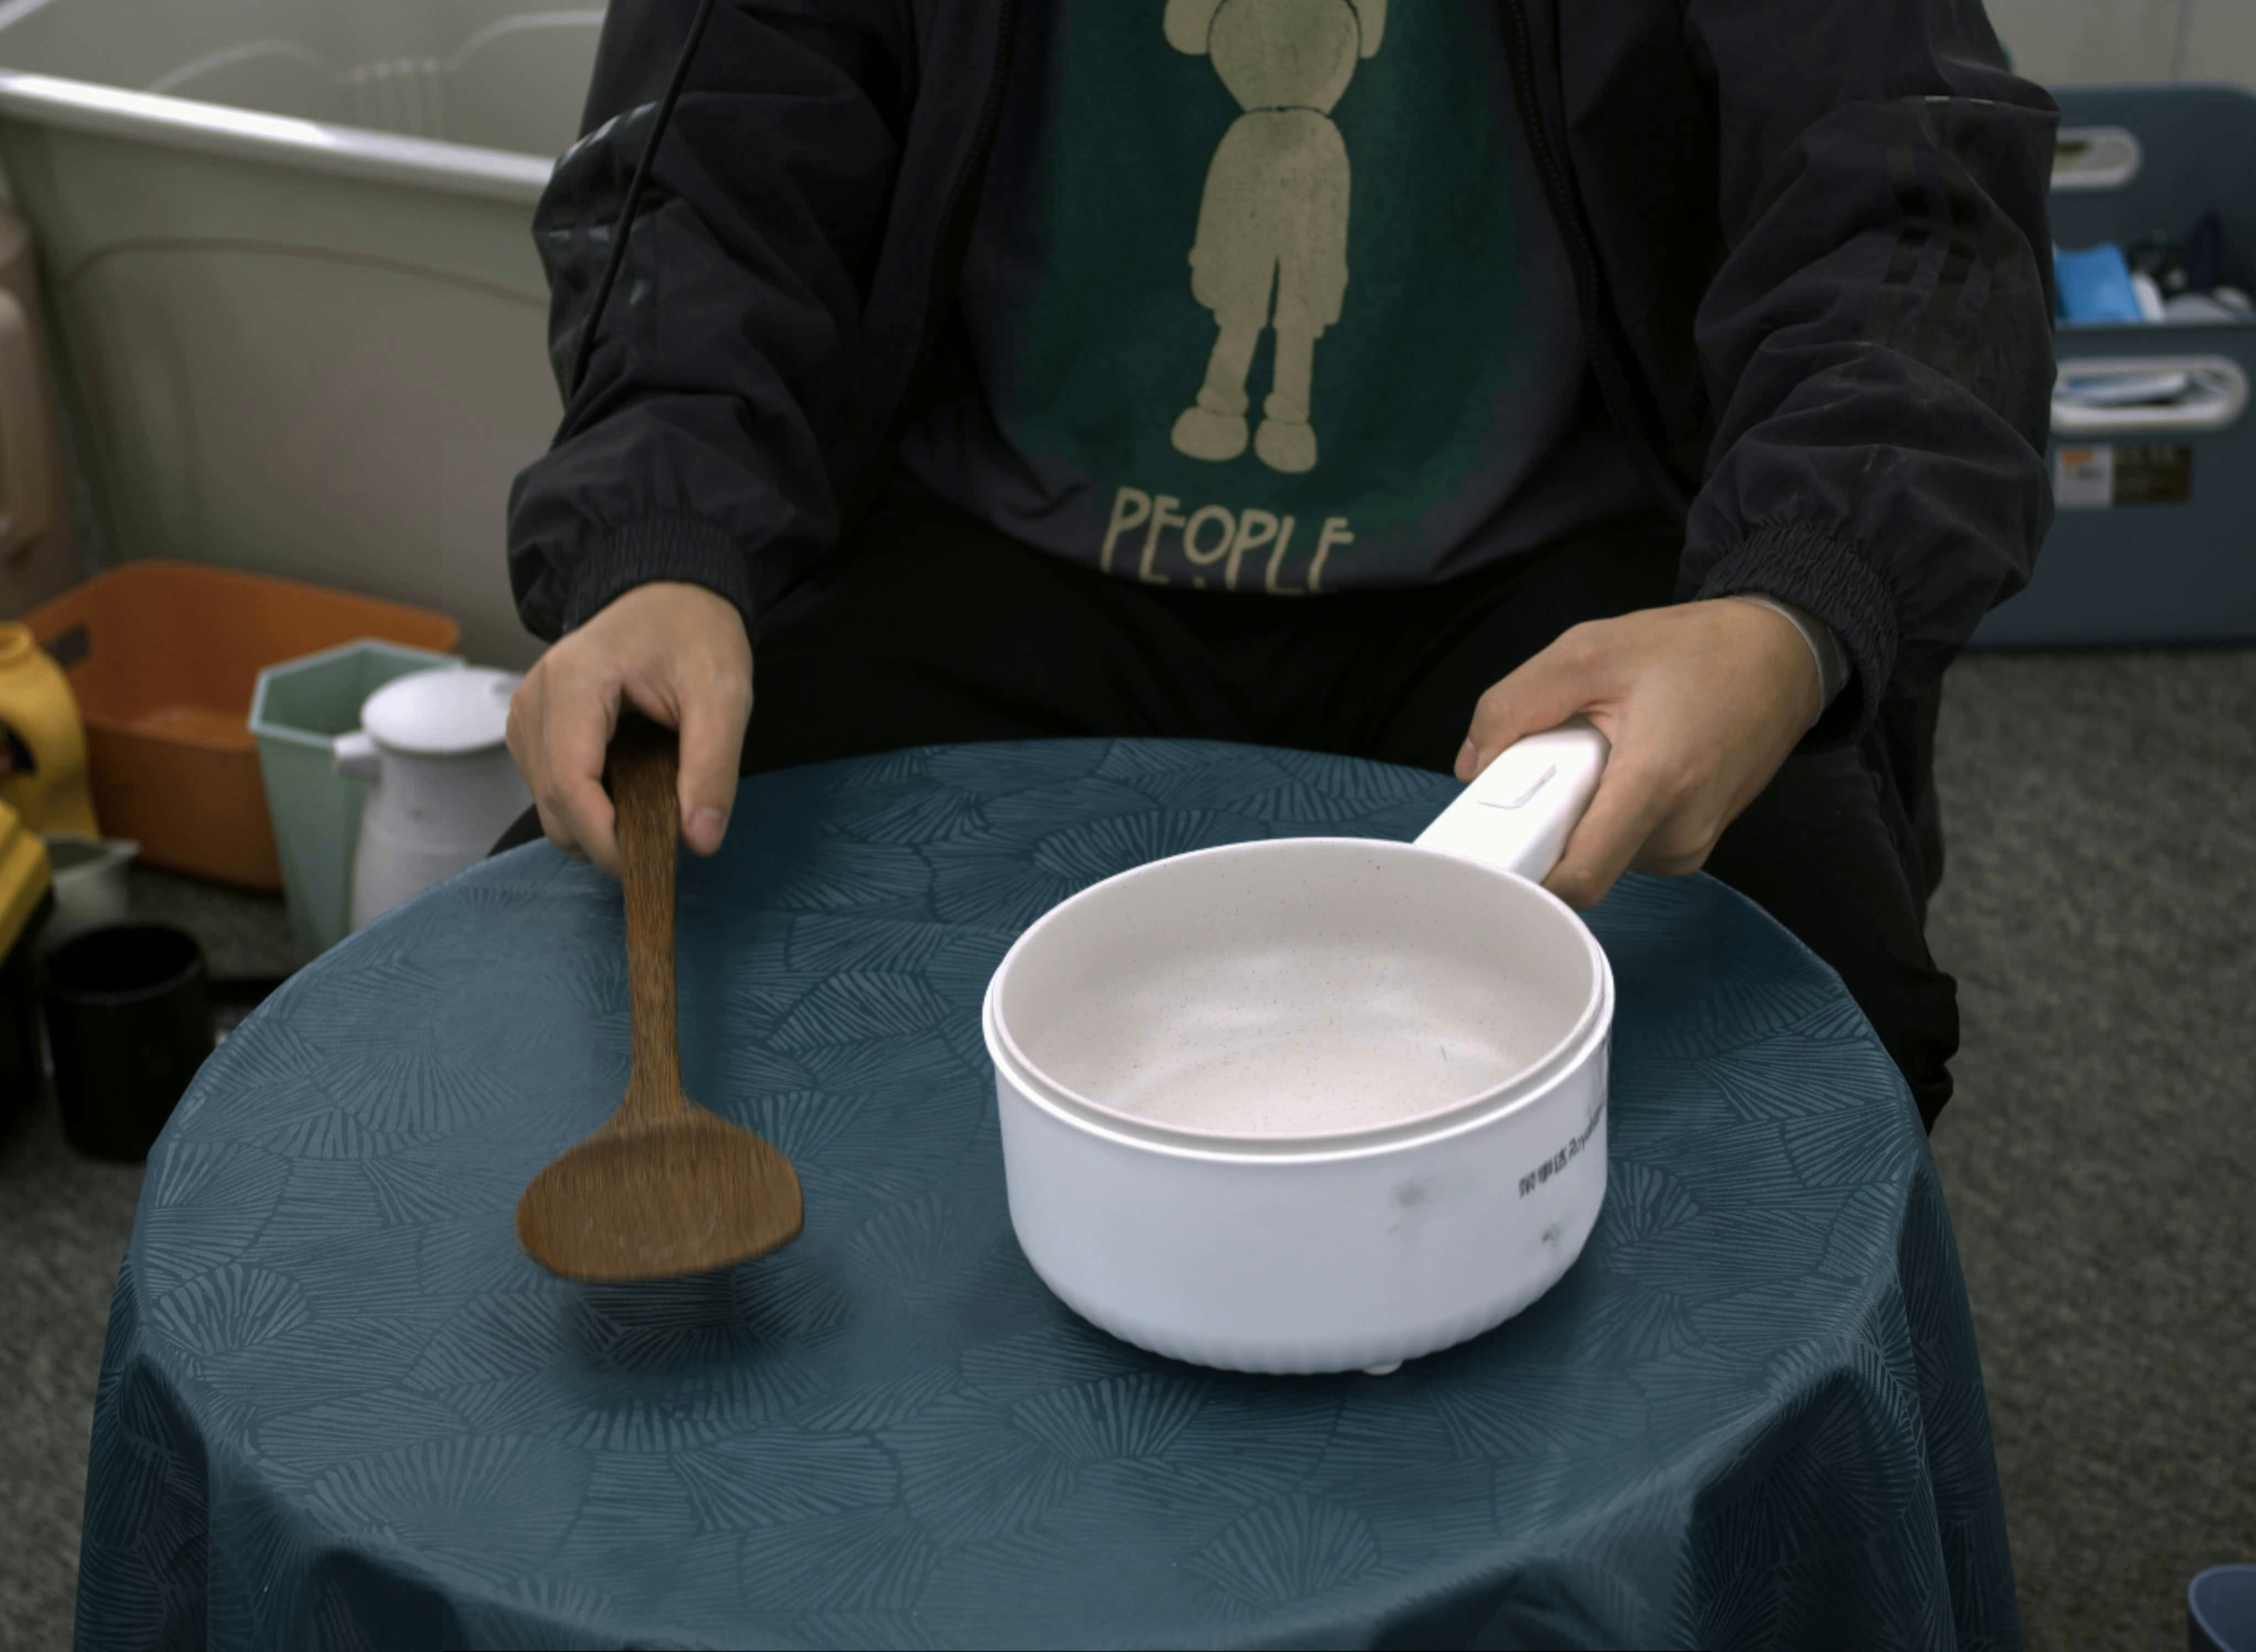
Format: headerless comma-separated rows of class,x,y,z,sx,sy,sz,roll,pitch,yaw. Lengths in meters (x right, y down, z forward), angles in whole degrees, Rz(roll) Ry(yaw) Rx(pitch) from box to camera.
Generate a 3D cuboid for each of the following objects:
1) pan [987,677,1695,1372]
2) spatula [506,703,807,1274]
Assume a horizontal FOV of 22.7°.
pan,0.095,0.062,1.859,0.200,0.101,0.360,9,28,28
spatula,-0.164,0.047,1.924,0.096,0.015,0.391,-6,29,-2
